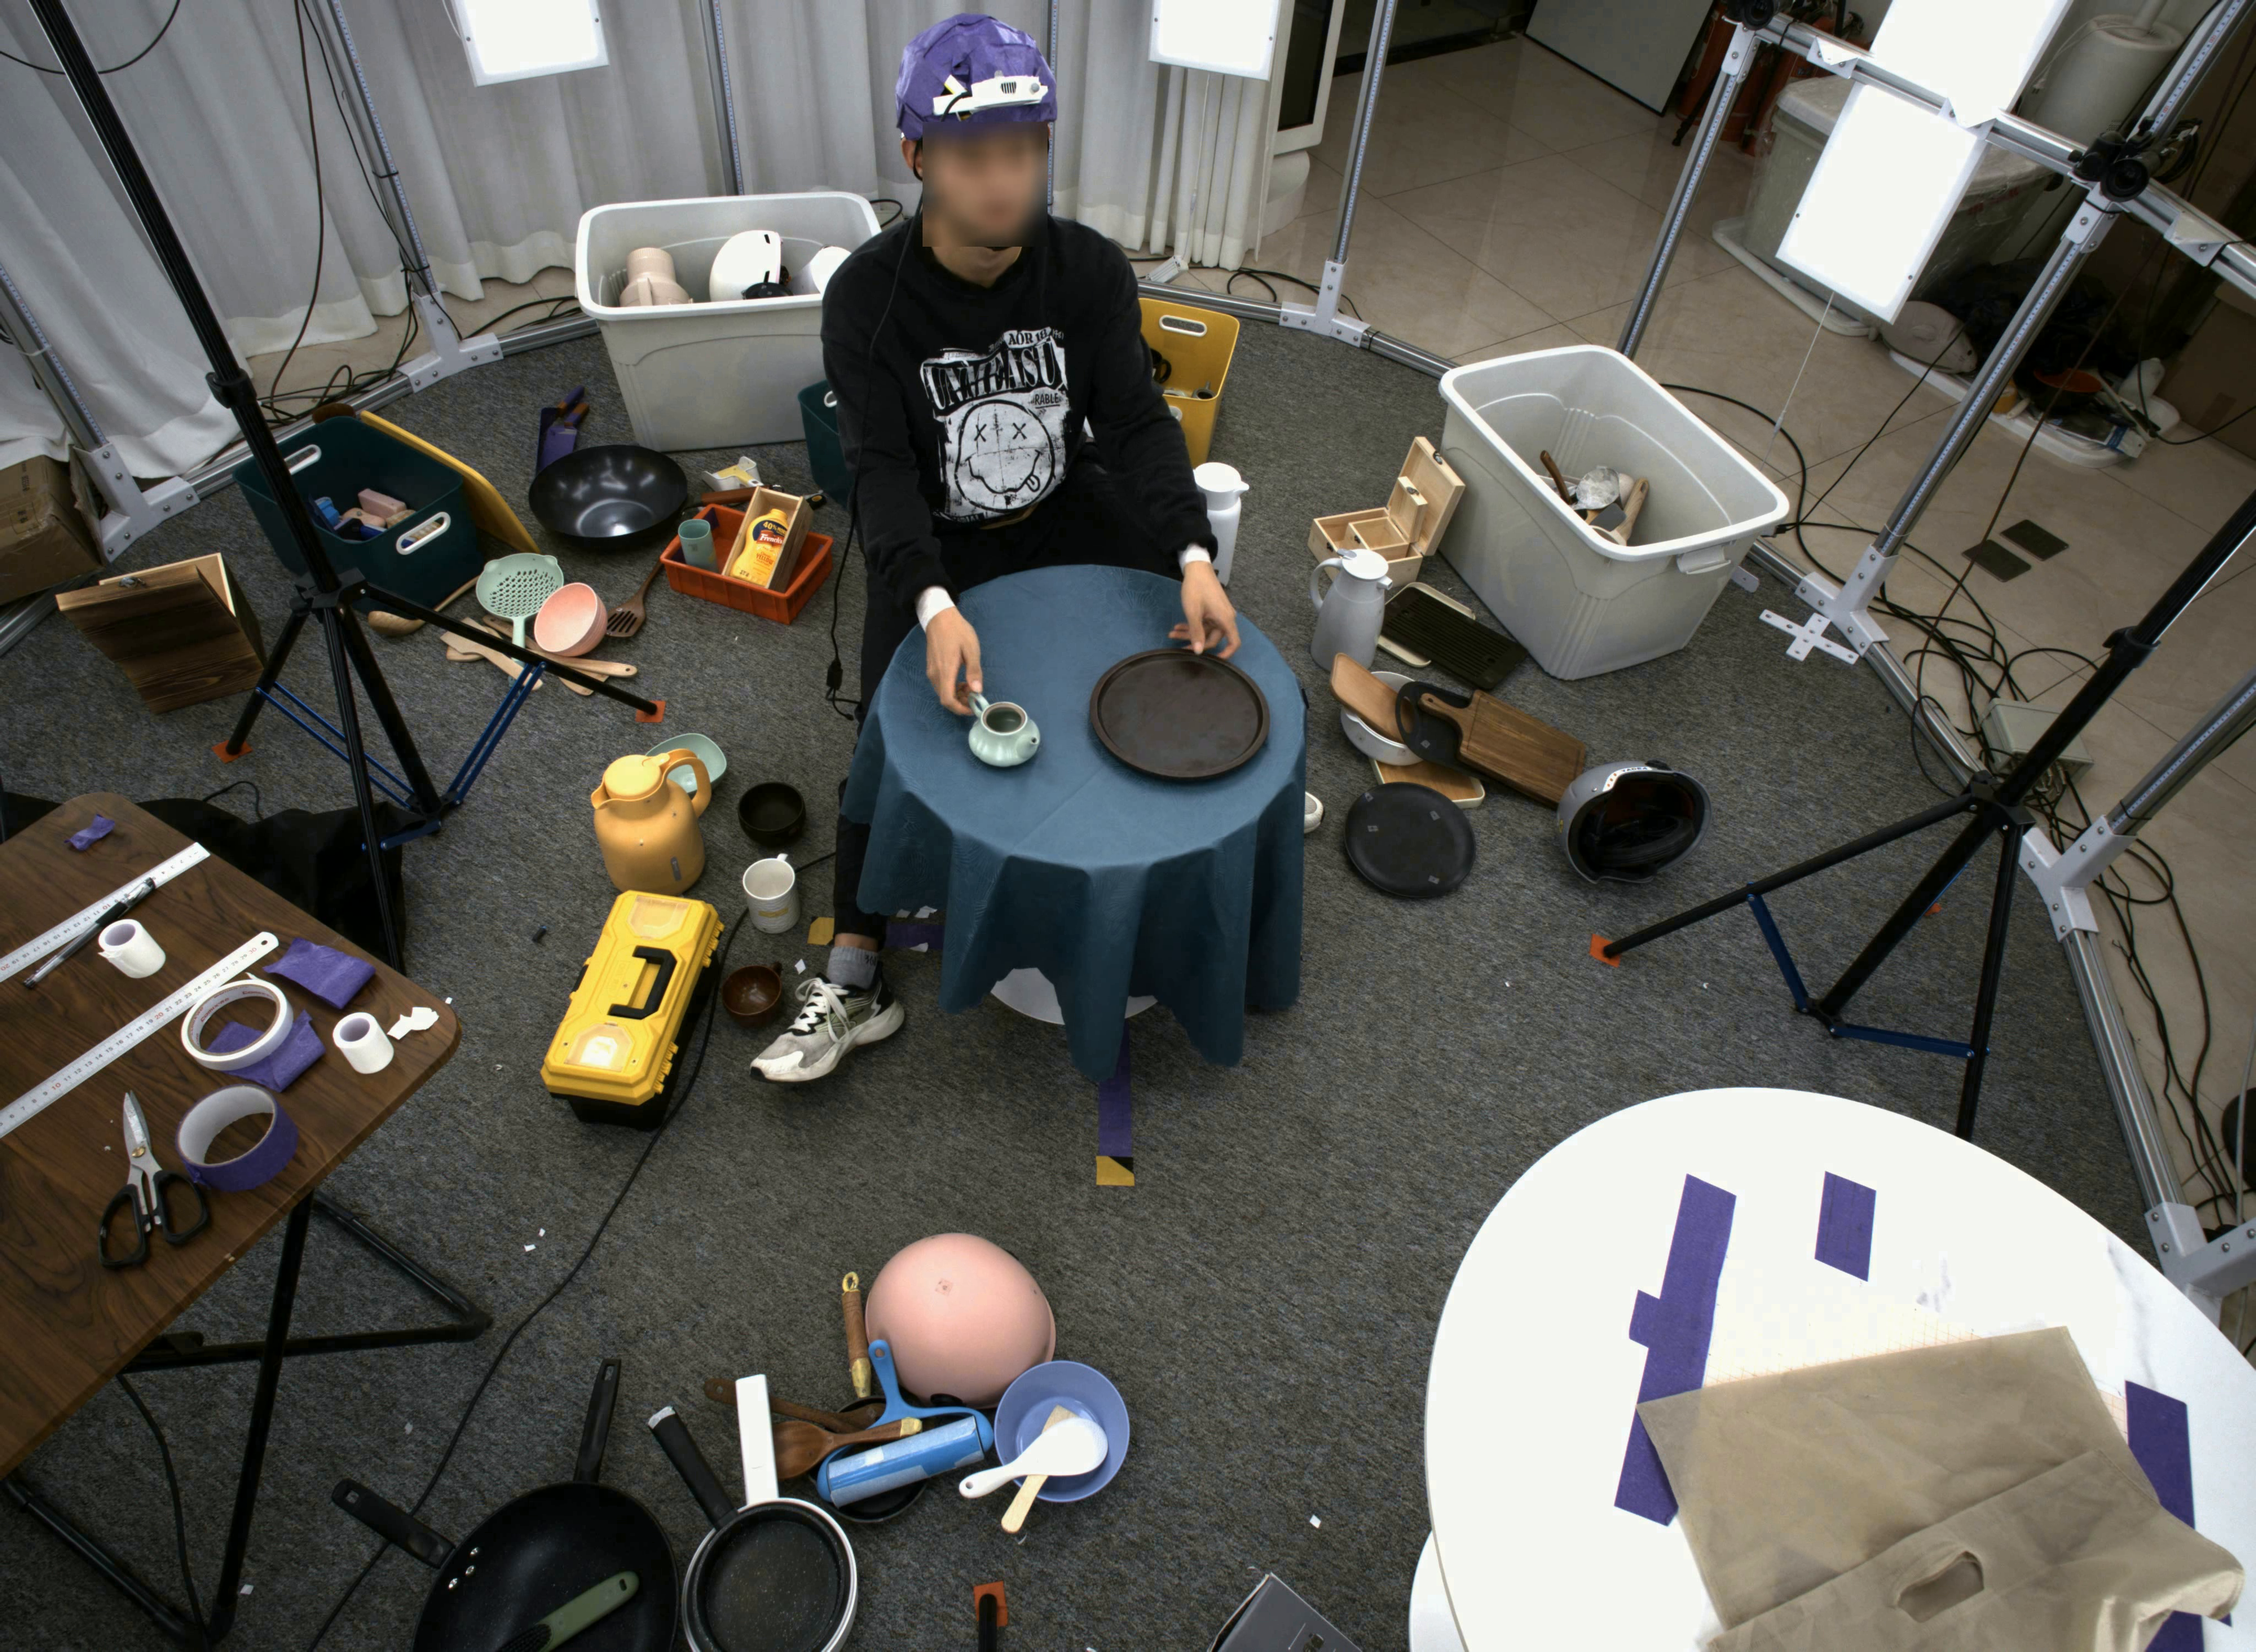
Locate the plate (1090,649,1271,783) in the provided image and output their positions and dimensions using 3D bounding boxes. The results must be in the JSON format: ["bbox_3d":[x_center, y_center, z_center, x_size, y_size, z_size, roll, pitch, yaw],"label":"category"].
[{"bbox_3d":[0.072,-0.156,1.793,0.254,0.028,0.261,1,50,-2],"label":"plate"}]

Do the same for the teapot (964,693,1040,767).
[{"bbox_3d":[-0.170,-0.130,1.732,0.139,0.060,0.097,37,58,24],"label":"teapot"}]
